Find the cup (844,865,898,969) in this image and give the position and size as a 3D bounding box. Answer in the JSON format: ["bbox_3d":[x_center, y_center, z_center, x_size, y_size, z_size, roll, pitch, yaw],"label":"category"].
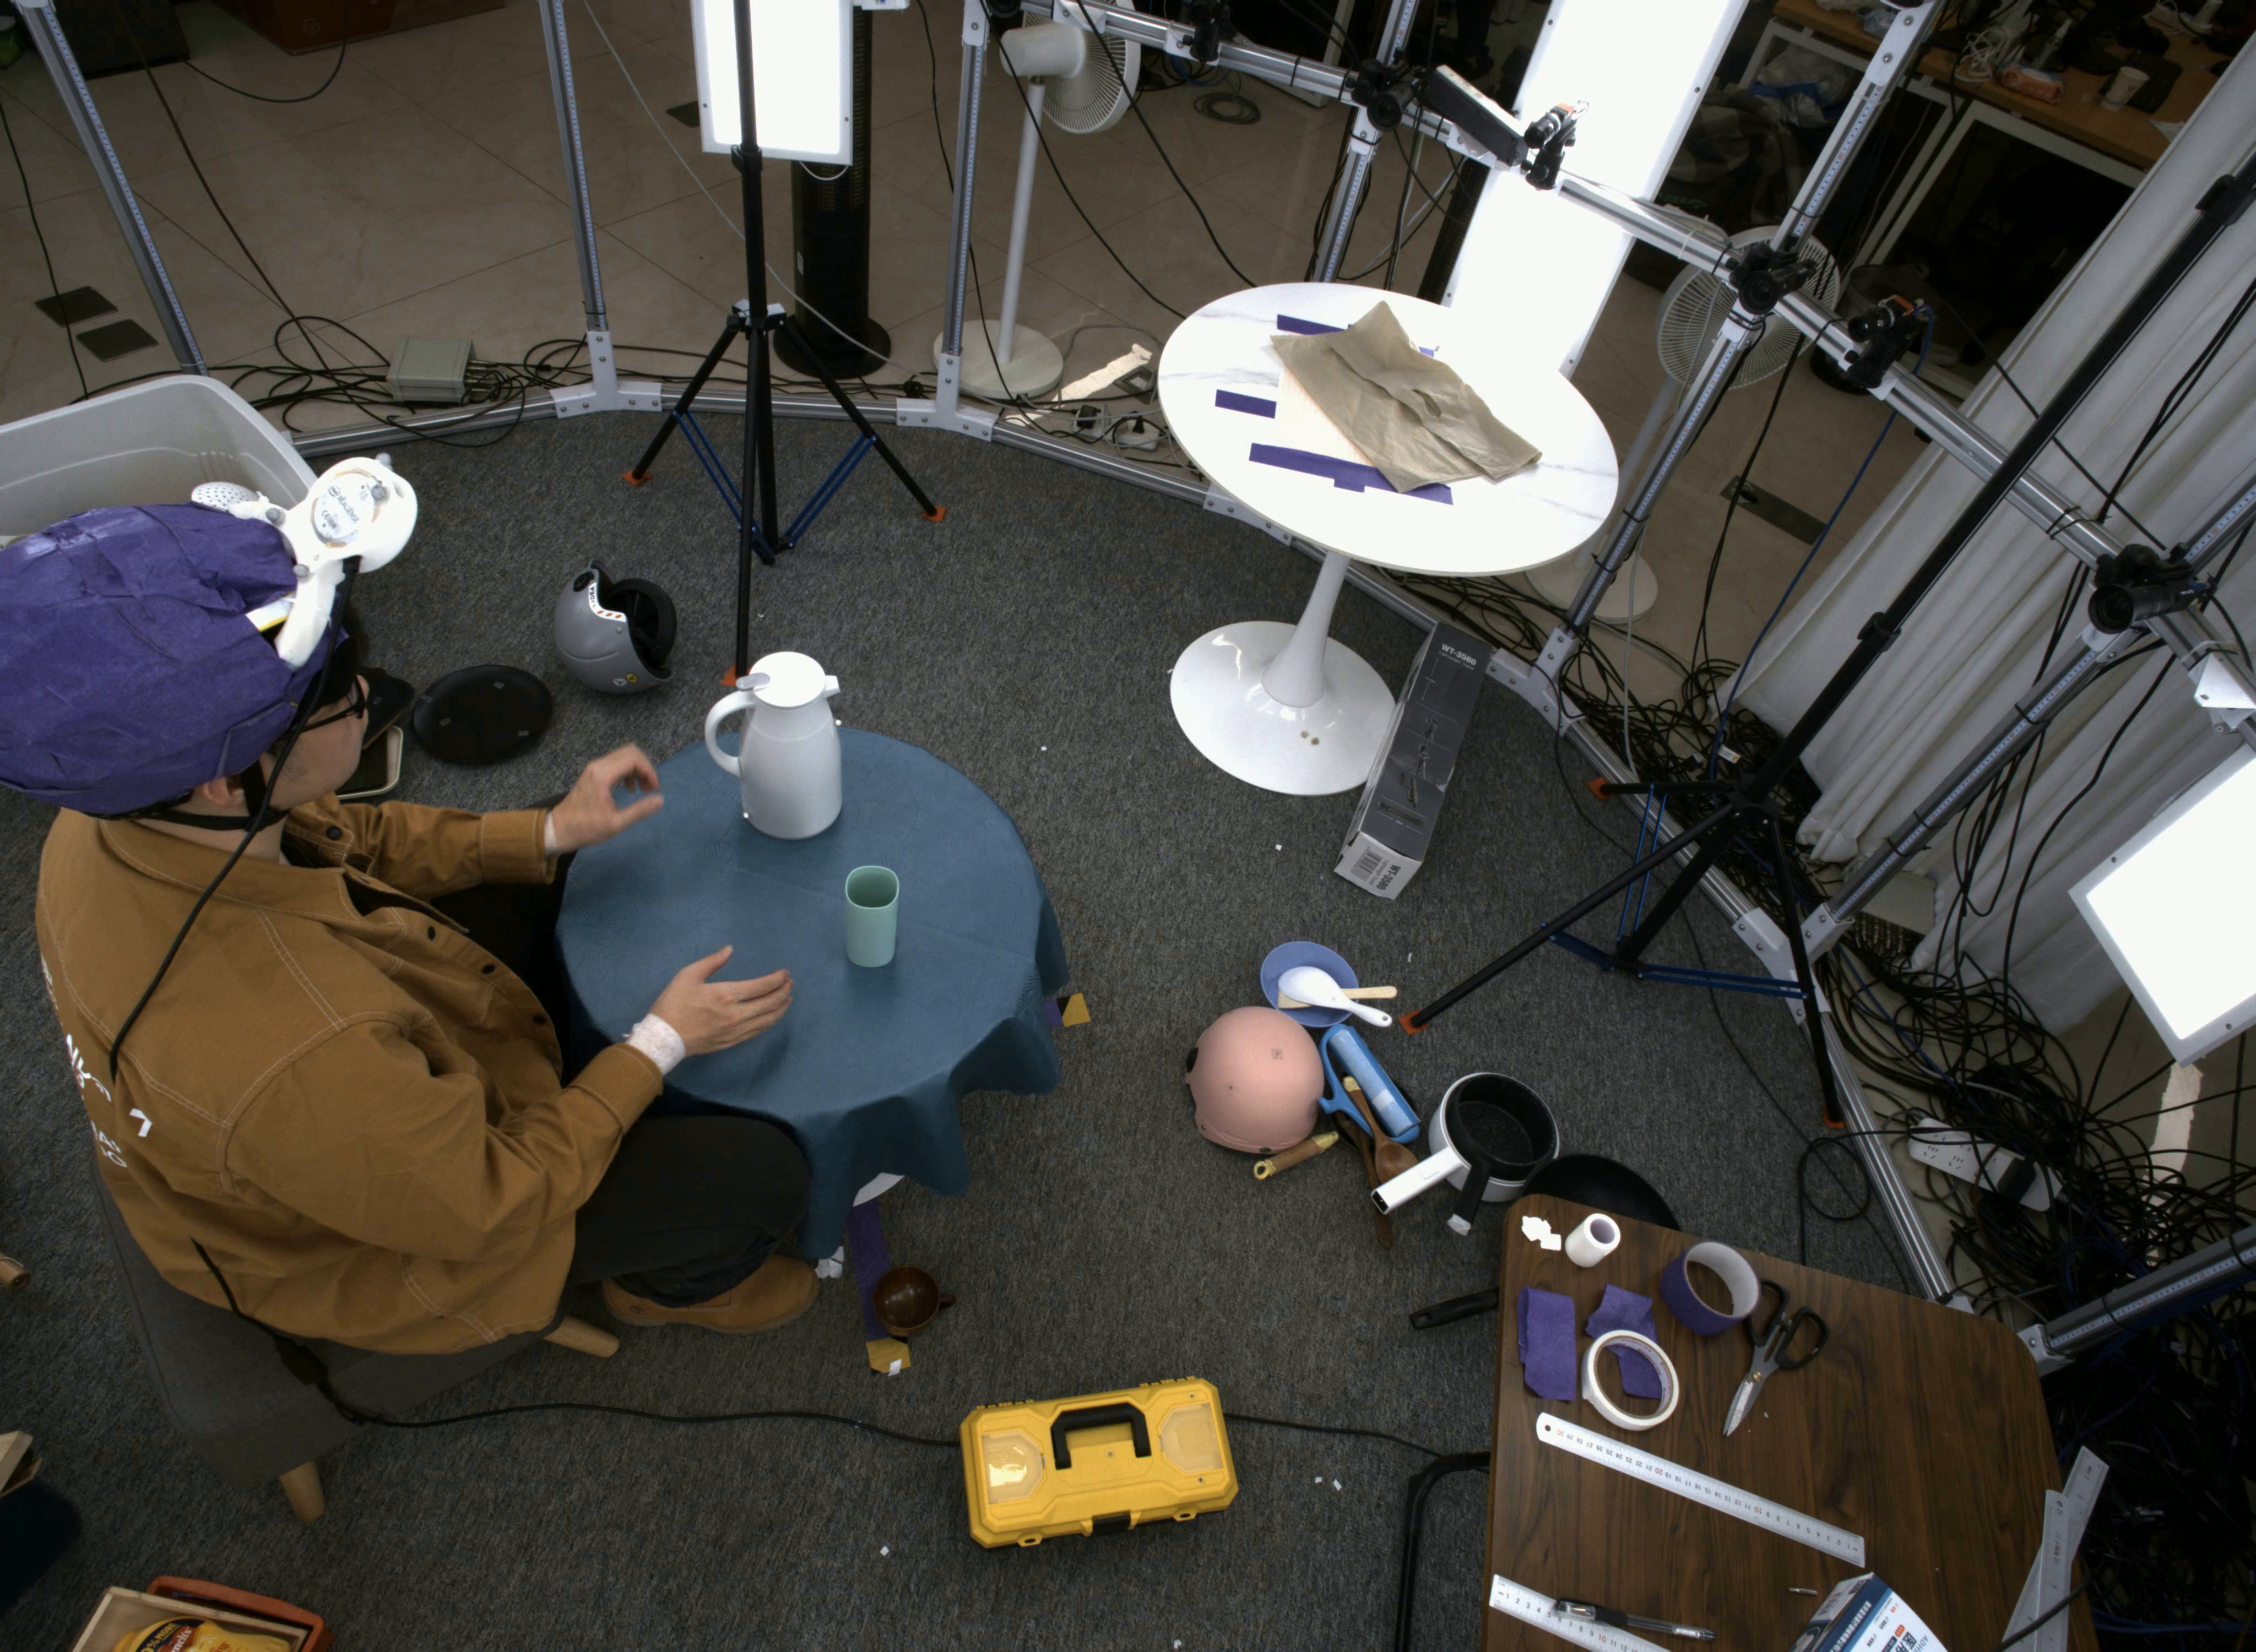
[{"bbox_3d":[-0.313,0.112,1.586,0.066,0.135,0.065,6,51,-6],"label":"cup"}]

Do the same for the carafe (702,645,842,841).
[{"bbox_3d":[-0.449,-0.107,1.634,0.168,0.254,0.129,-10,55,-19],"label":"carafe"}]
